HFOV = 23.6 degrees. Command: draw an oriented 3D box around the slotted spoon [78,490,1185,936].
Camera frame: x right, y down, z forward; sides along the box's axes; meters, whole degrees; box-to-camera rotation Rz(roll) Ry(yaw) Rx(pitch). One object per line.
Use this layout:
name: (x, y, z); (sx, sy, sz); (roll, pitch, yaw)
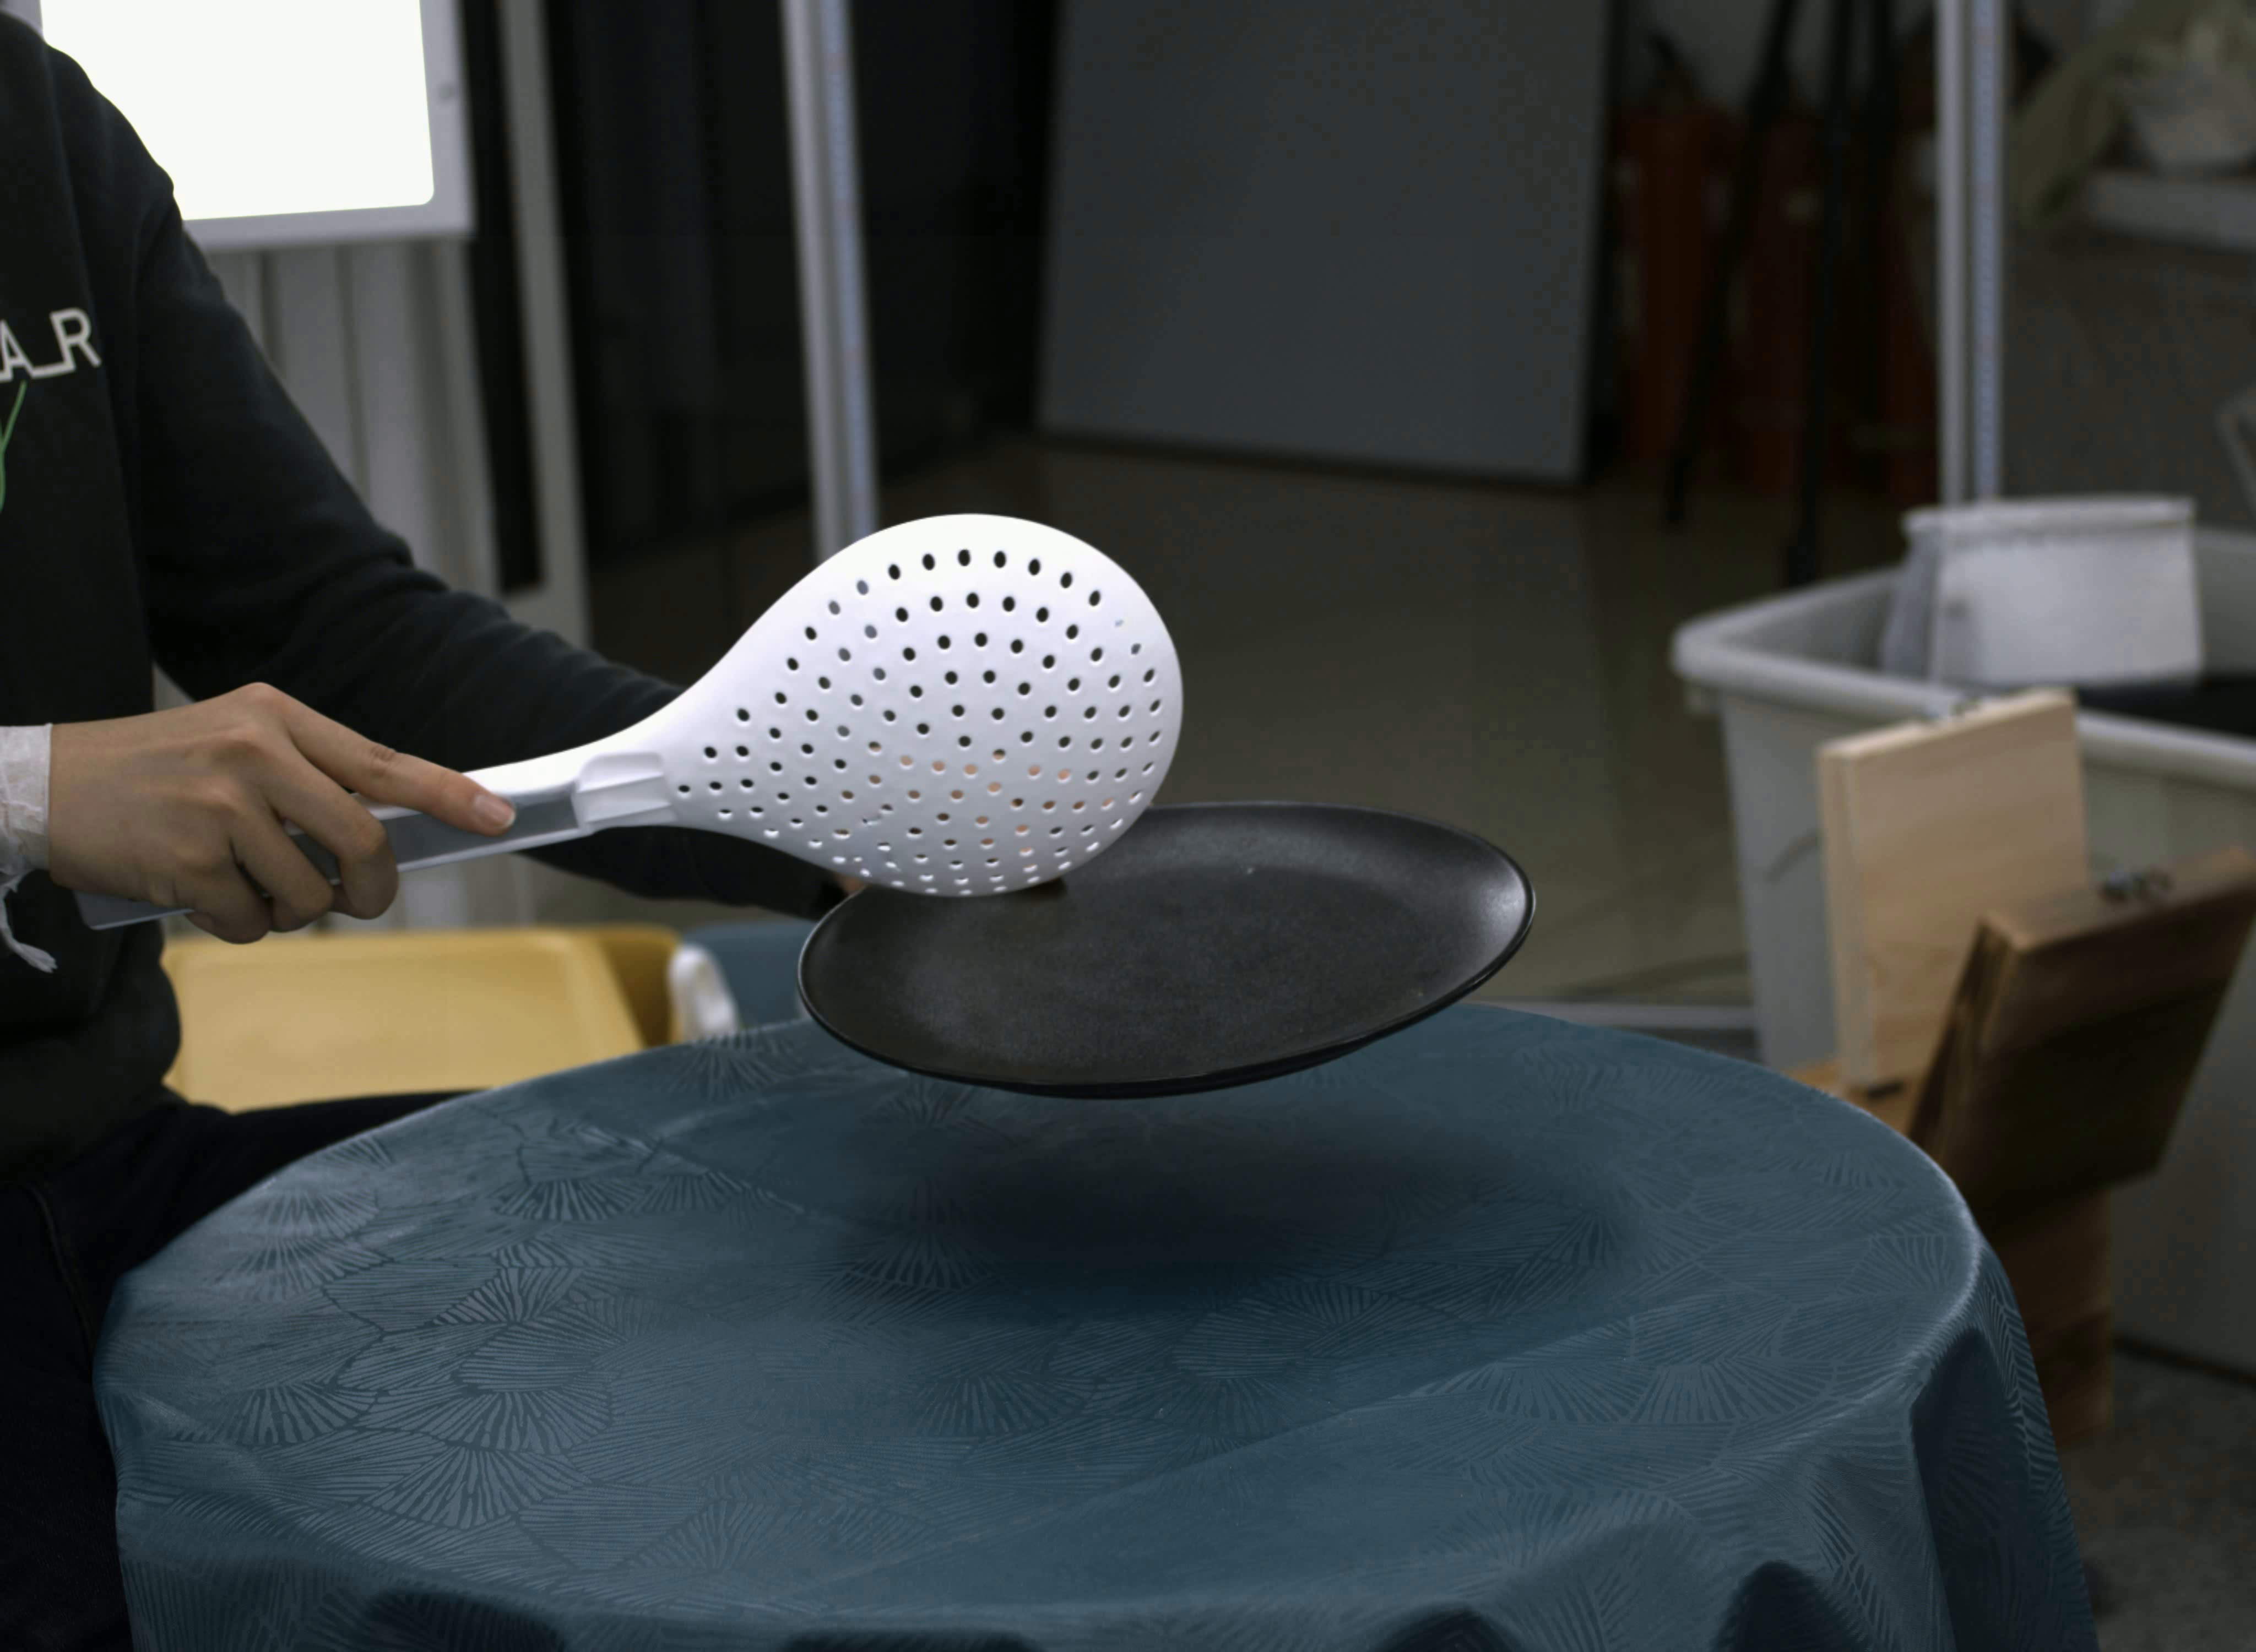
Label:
slotted spoon: (-0.153, -0.015, 1.667); (0.347, 0.137, 0.046); (-10, 28, 7)

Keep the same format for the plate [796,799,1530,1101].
plate: (0.012, 0.043, 1.754); (0.241, 0.023, 0.245); (-7, 20, 1)
